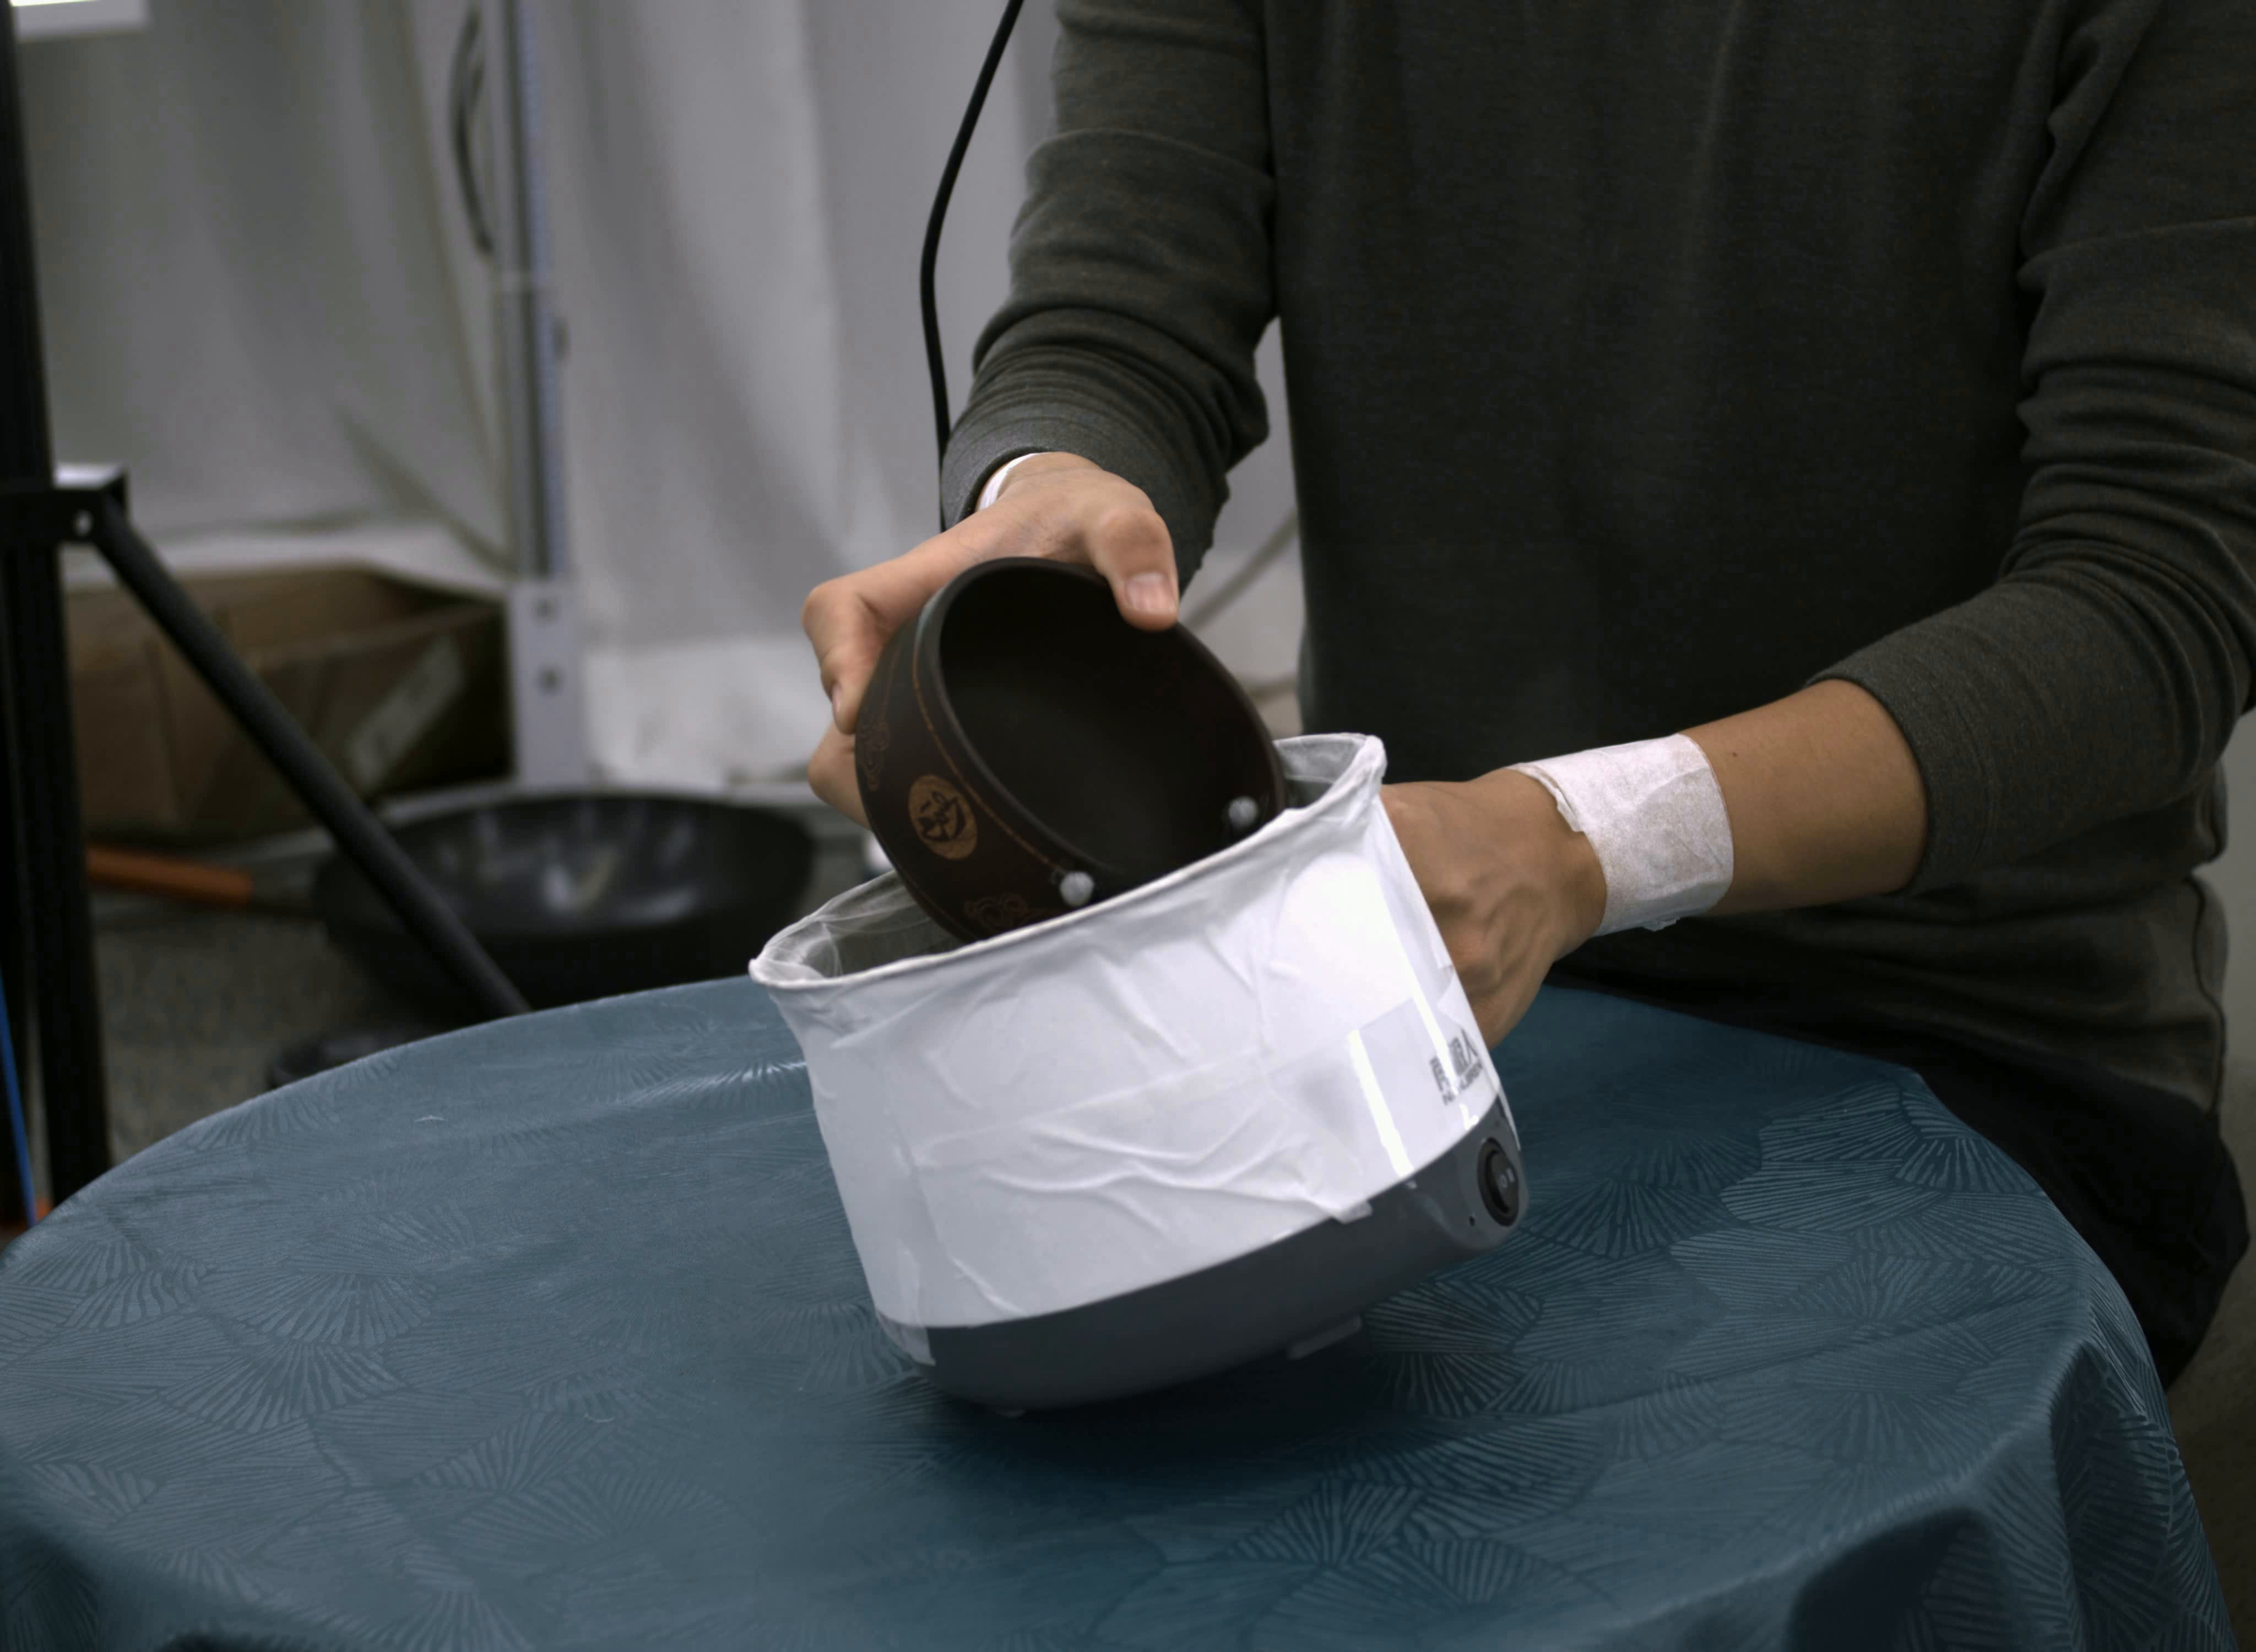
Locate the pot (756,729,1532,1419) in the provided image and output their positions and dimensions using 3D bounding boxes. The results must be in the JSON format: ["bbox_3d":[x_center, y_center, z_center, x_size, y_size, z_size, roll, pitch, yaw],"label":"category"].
[{"bbox_3d":[0.016,0.059,1.427,0.181,0.136,0.231,-15,10,26],"label":"pot"}]

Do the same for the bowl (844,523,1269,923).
[{"bbox_3d":[-0.027,-0.016,1.436,0.116,0.070,0.119,30,32,-23],"label":"bowl"}]
